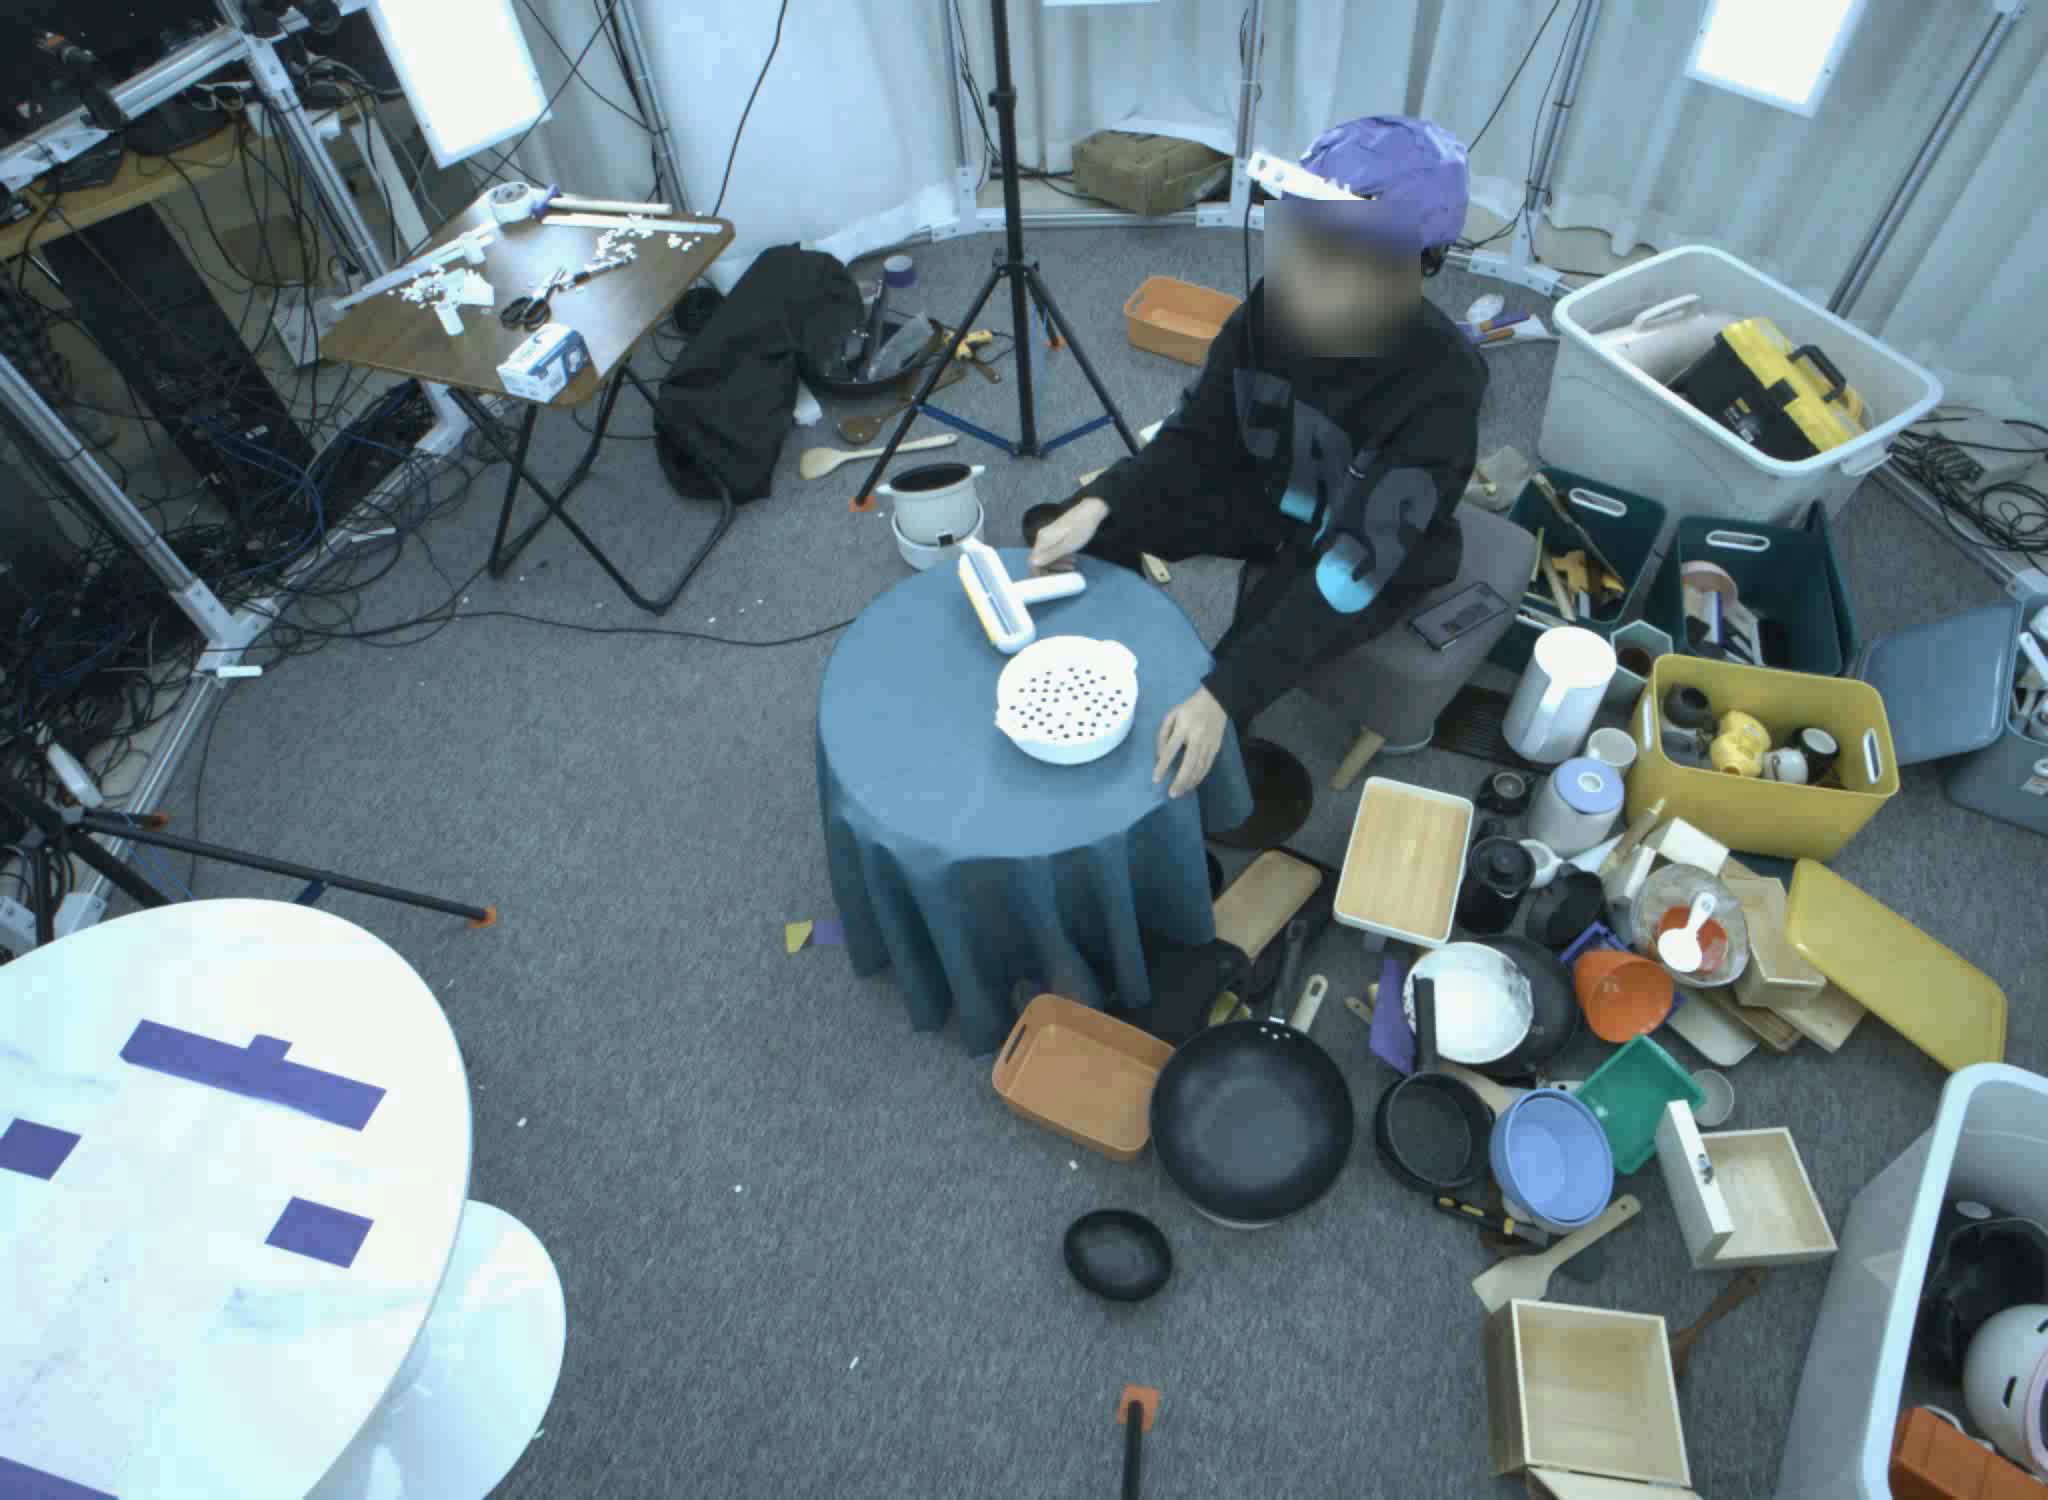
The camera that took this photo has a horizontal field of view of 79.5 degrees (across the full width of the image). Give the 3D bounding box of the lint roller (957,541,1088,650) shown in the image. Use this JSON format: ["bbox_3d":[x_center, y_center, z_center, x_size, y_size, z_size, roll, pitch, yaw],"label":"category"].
[{"bbox_3d":[0.009,-0.253,1.921,0.194,0.075,0.190,-17,61,-12],"label":"lint roller"}]

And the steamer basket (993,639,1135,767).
[{"bbox_3d":[0.058,-0.067,1.791,0.232,0.070,0.198,-32,61,-22],"label":"steamer basket"}]
